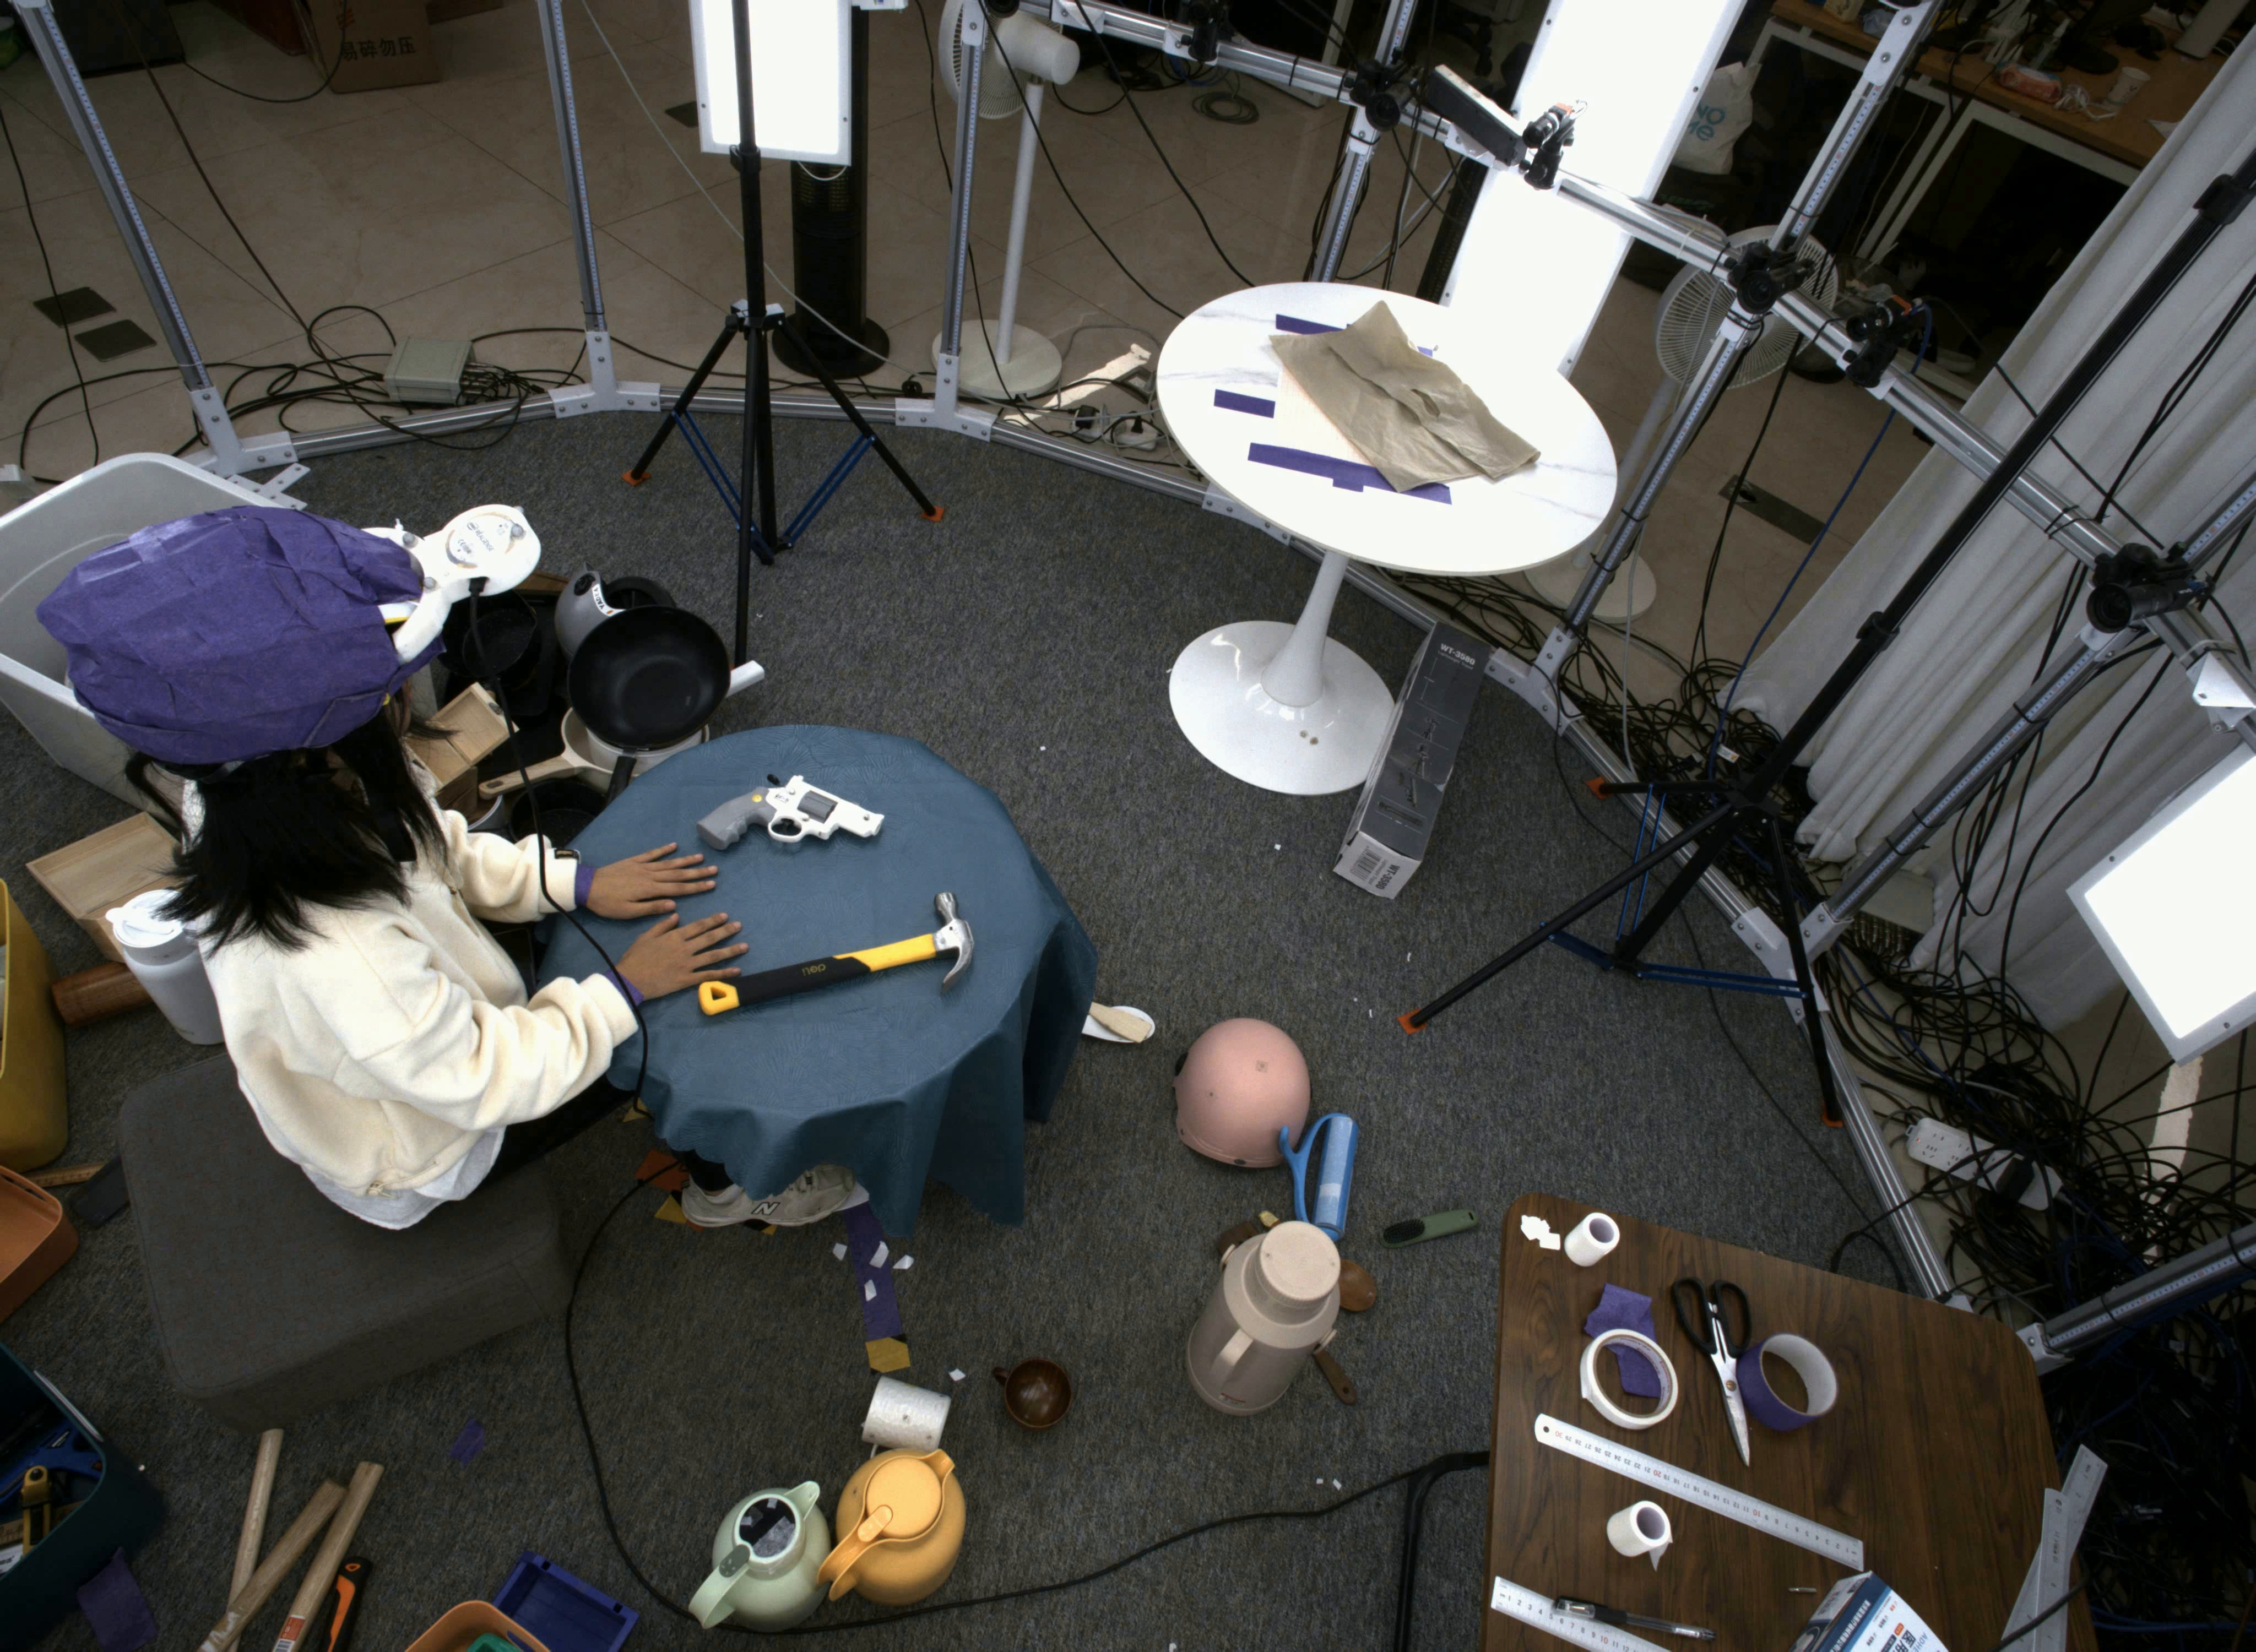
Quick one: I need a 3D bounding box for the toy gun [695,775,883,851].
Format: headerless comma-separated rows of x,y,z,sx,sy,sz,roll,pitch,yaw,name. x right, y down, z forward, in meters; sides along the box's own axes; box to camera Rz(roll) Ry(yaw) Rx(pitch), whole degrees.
-0.442,-0.005,1.693,0.207,0.039,0.140,21,50,1,toy gun

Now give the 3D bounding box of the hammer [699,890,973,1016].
-0.352,0.169,1.588,0.340,0.033,0.128,-12,60,-24,hammer
